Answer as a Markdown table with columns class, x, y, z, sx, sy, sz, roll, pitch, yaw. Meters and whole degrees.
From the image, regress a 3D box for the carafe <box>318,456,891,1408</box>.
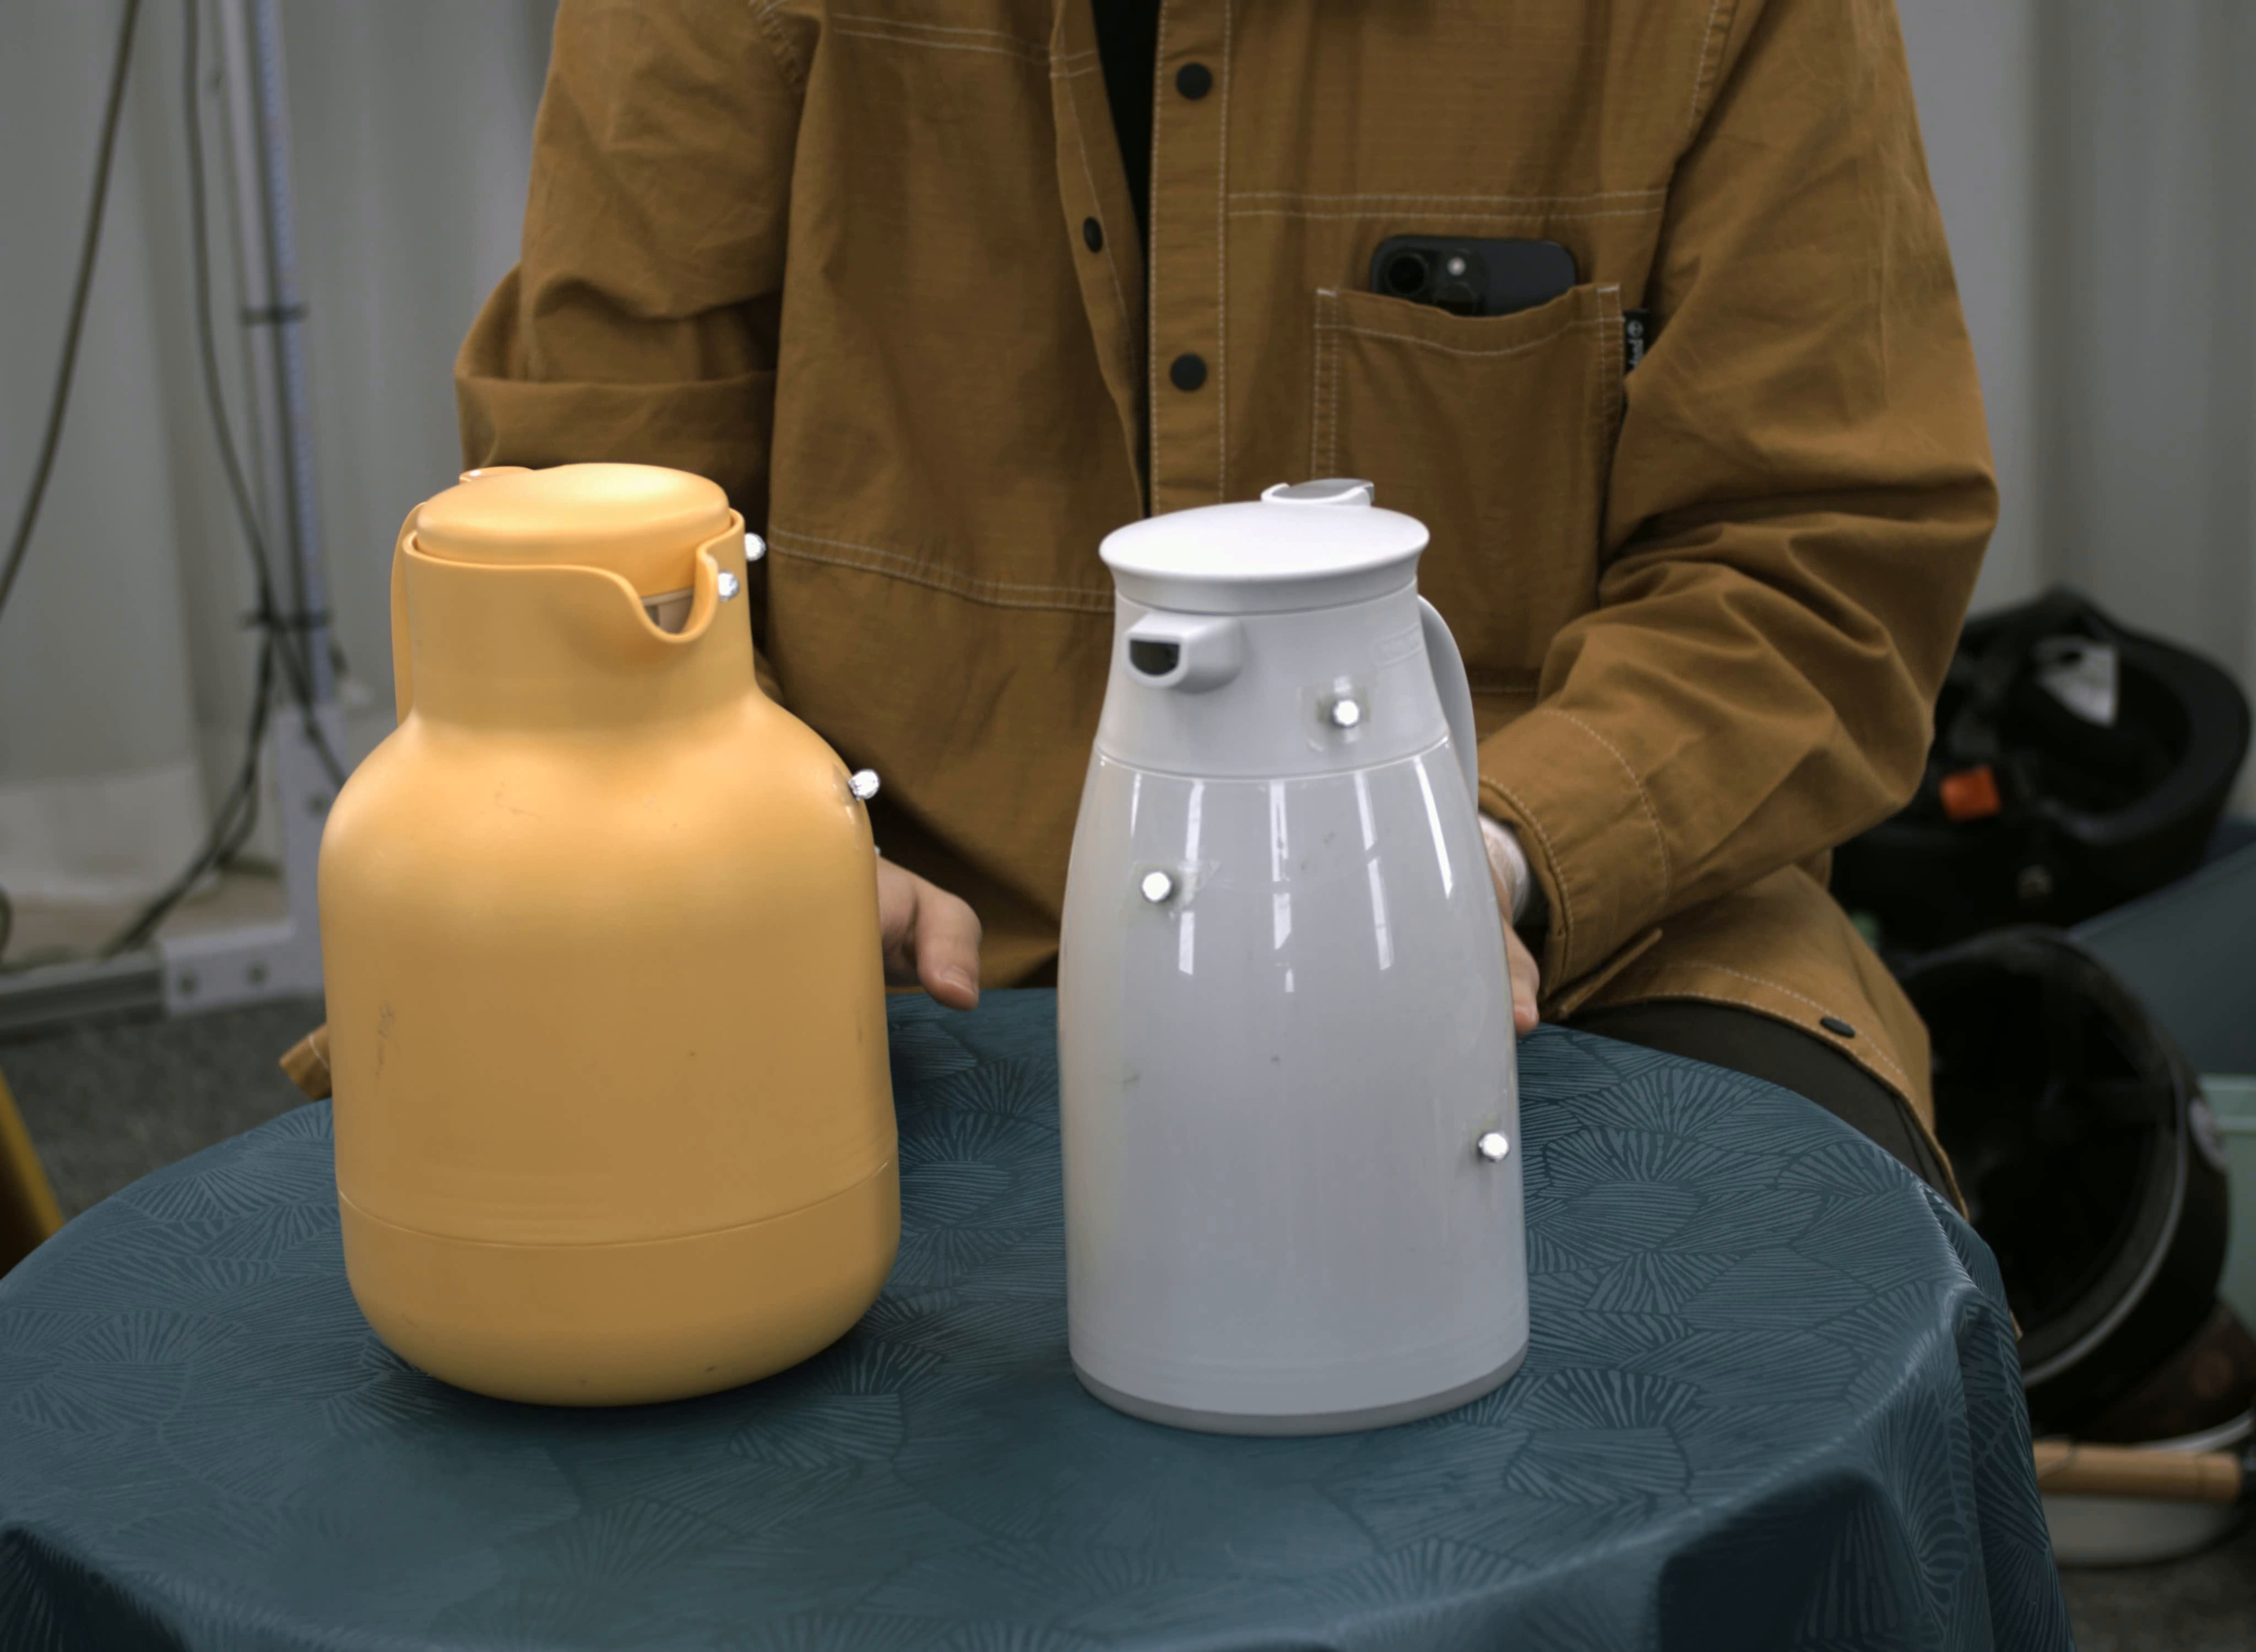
| class | x | y | z | sx | sy | sz | roll | pitch | yaw |
| --- | --- | --- | --- | --- | --- | --- | --- | --- | --- |
| carafe | -0.159 | 0.022 | 1.592 | 0.162 | 0.259 | 0.204 | -7 | 16 | -25 |

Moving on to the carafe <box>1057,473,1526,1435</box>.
| class | x | y | z | sx | sy | sz | roll | pitch | yaw |
| --- | --- | --- | --- | --- | --- | --- | --- | --- | --- |
| carafe | 0.052 | 0.027 | 1.553 | 0.133 | 0.248 | 0.168 | 5 | 16 | 30 |
